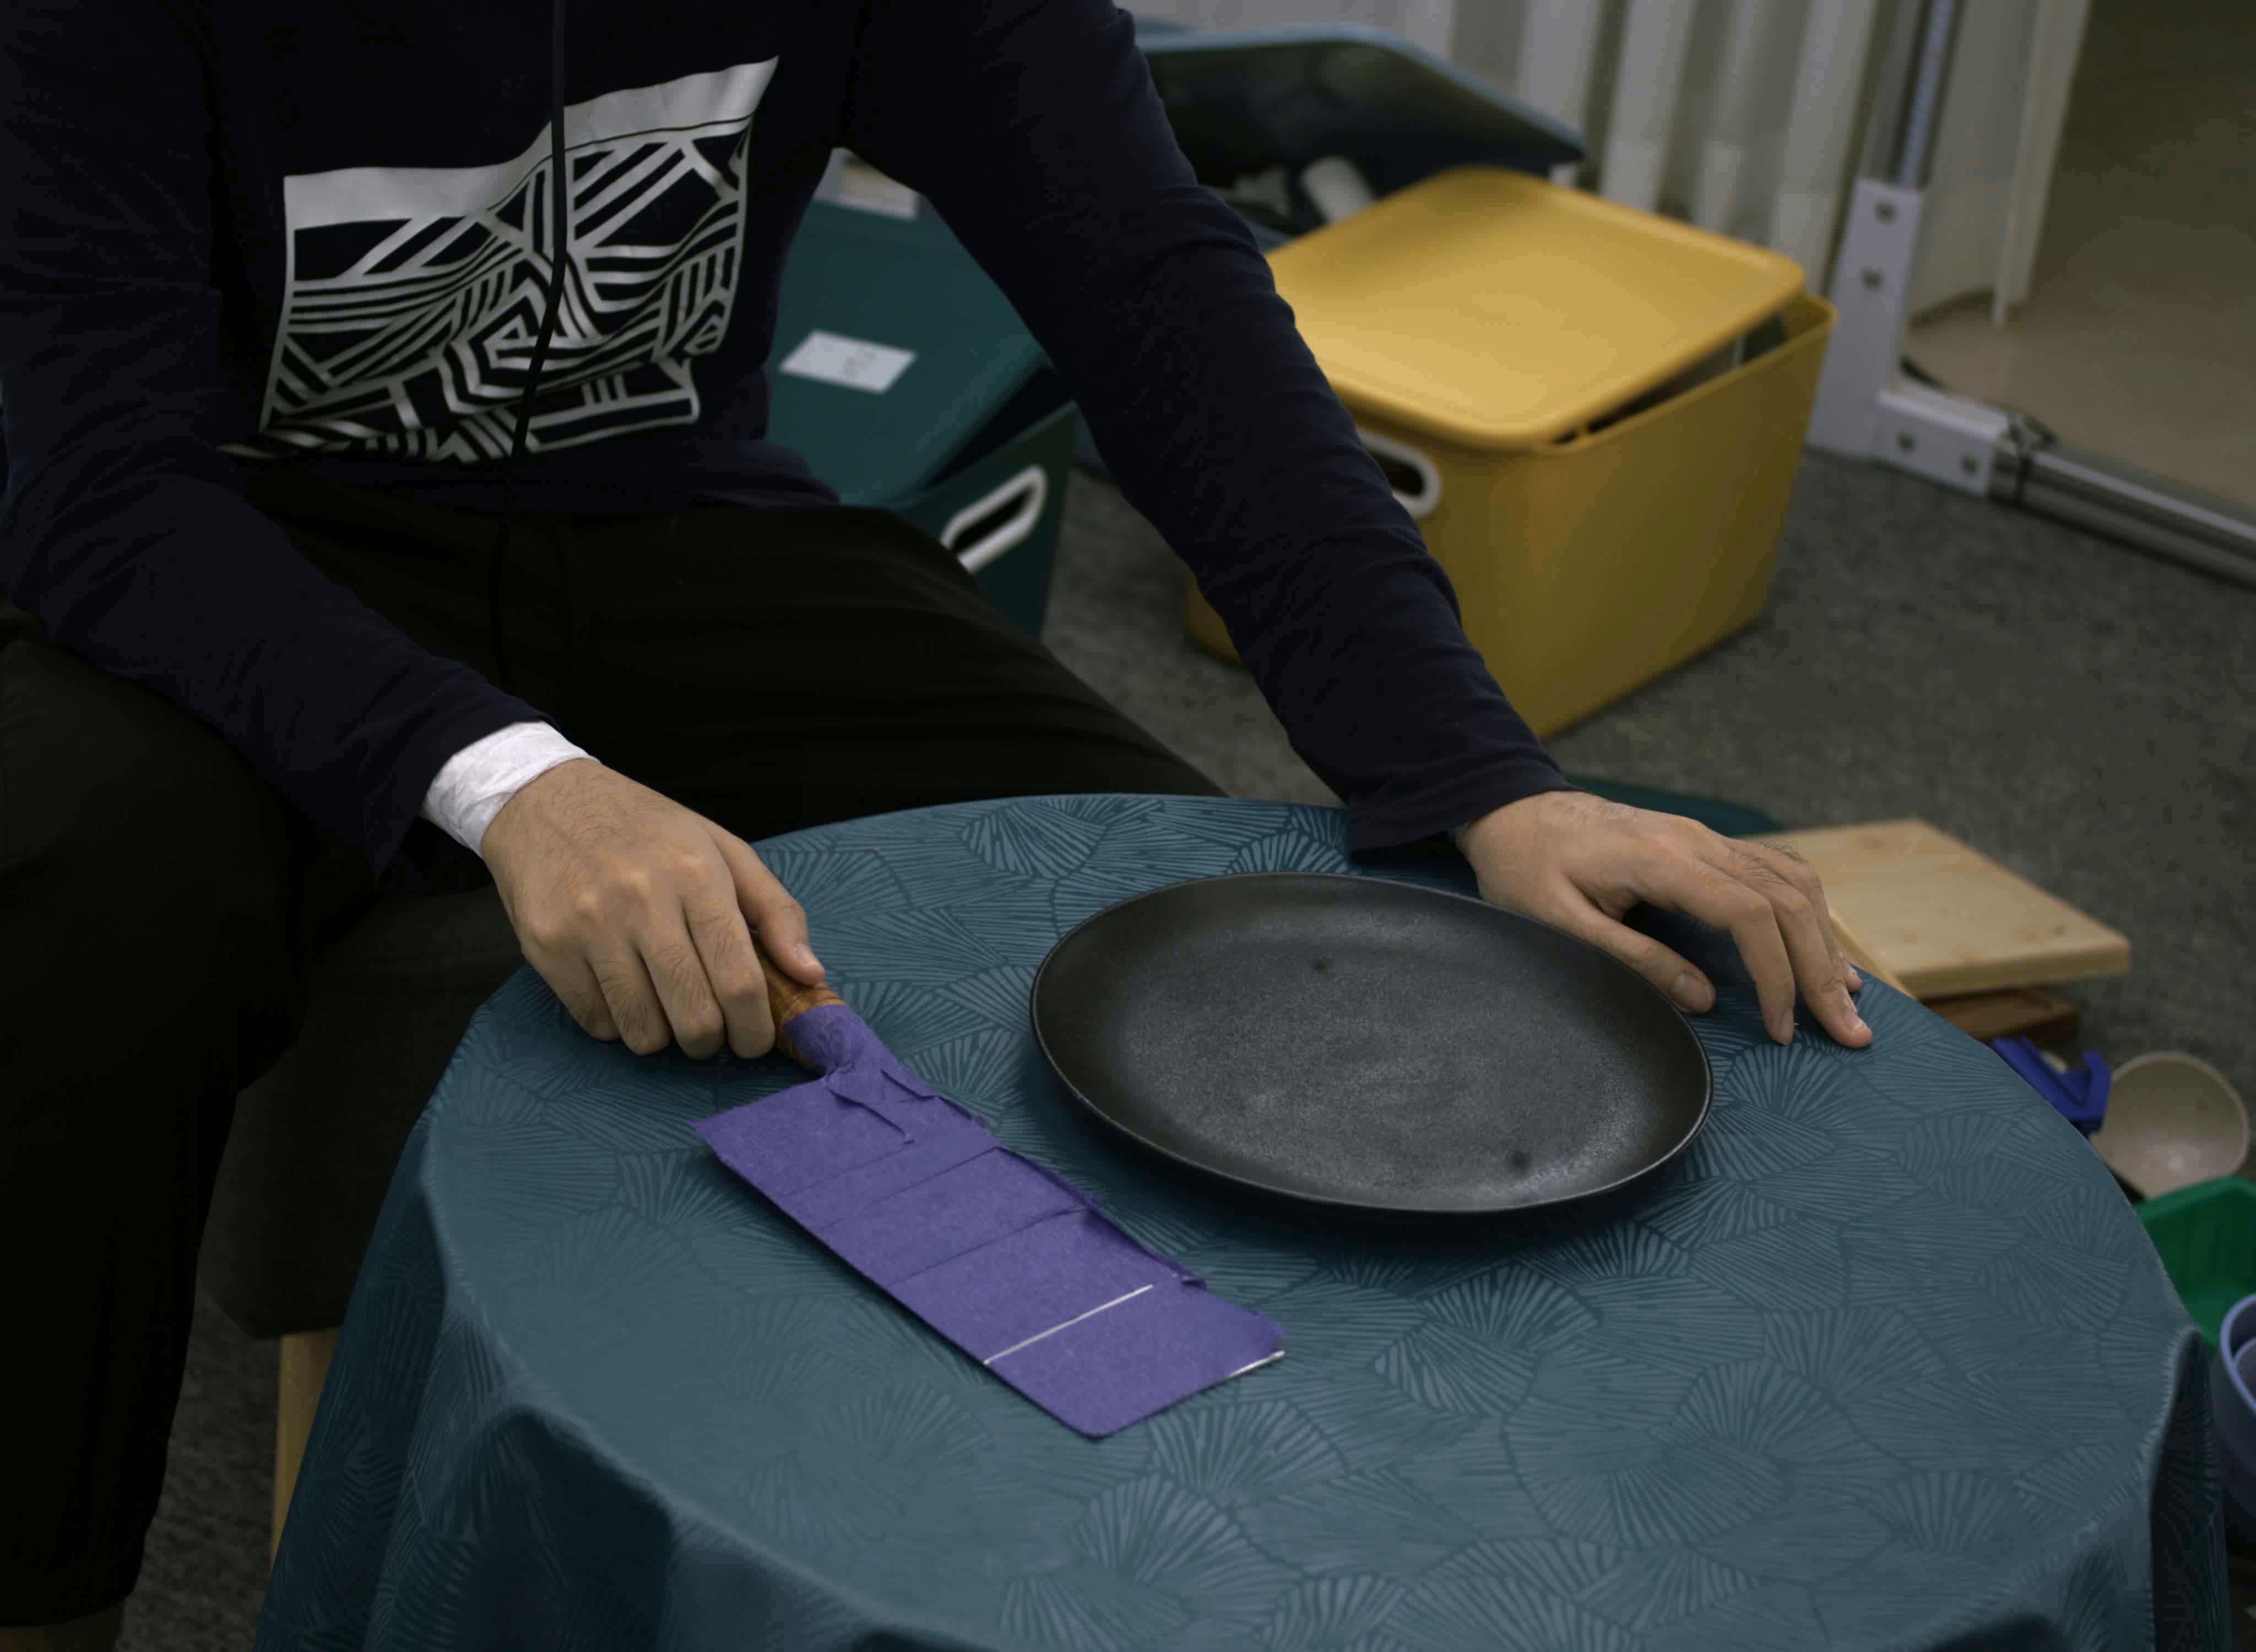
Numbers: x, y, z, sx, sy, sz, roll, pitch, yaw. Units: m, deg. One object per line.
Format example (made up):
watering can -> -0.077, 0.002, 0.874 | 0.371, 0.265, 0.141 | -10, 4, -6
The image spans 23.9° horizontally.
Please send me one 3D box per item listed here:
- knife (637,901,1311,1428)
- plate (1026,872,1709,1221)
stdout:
knife -> -0.081, 0.110, 1.786 | 0.103, 0.032, 0.318 | -18, 36, -40
plate -> 0.084, 0.082, 1.882 | 0.243, 0.023, 0.246 | 5, 27, -3
